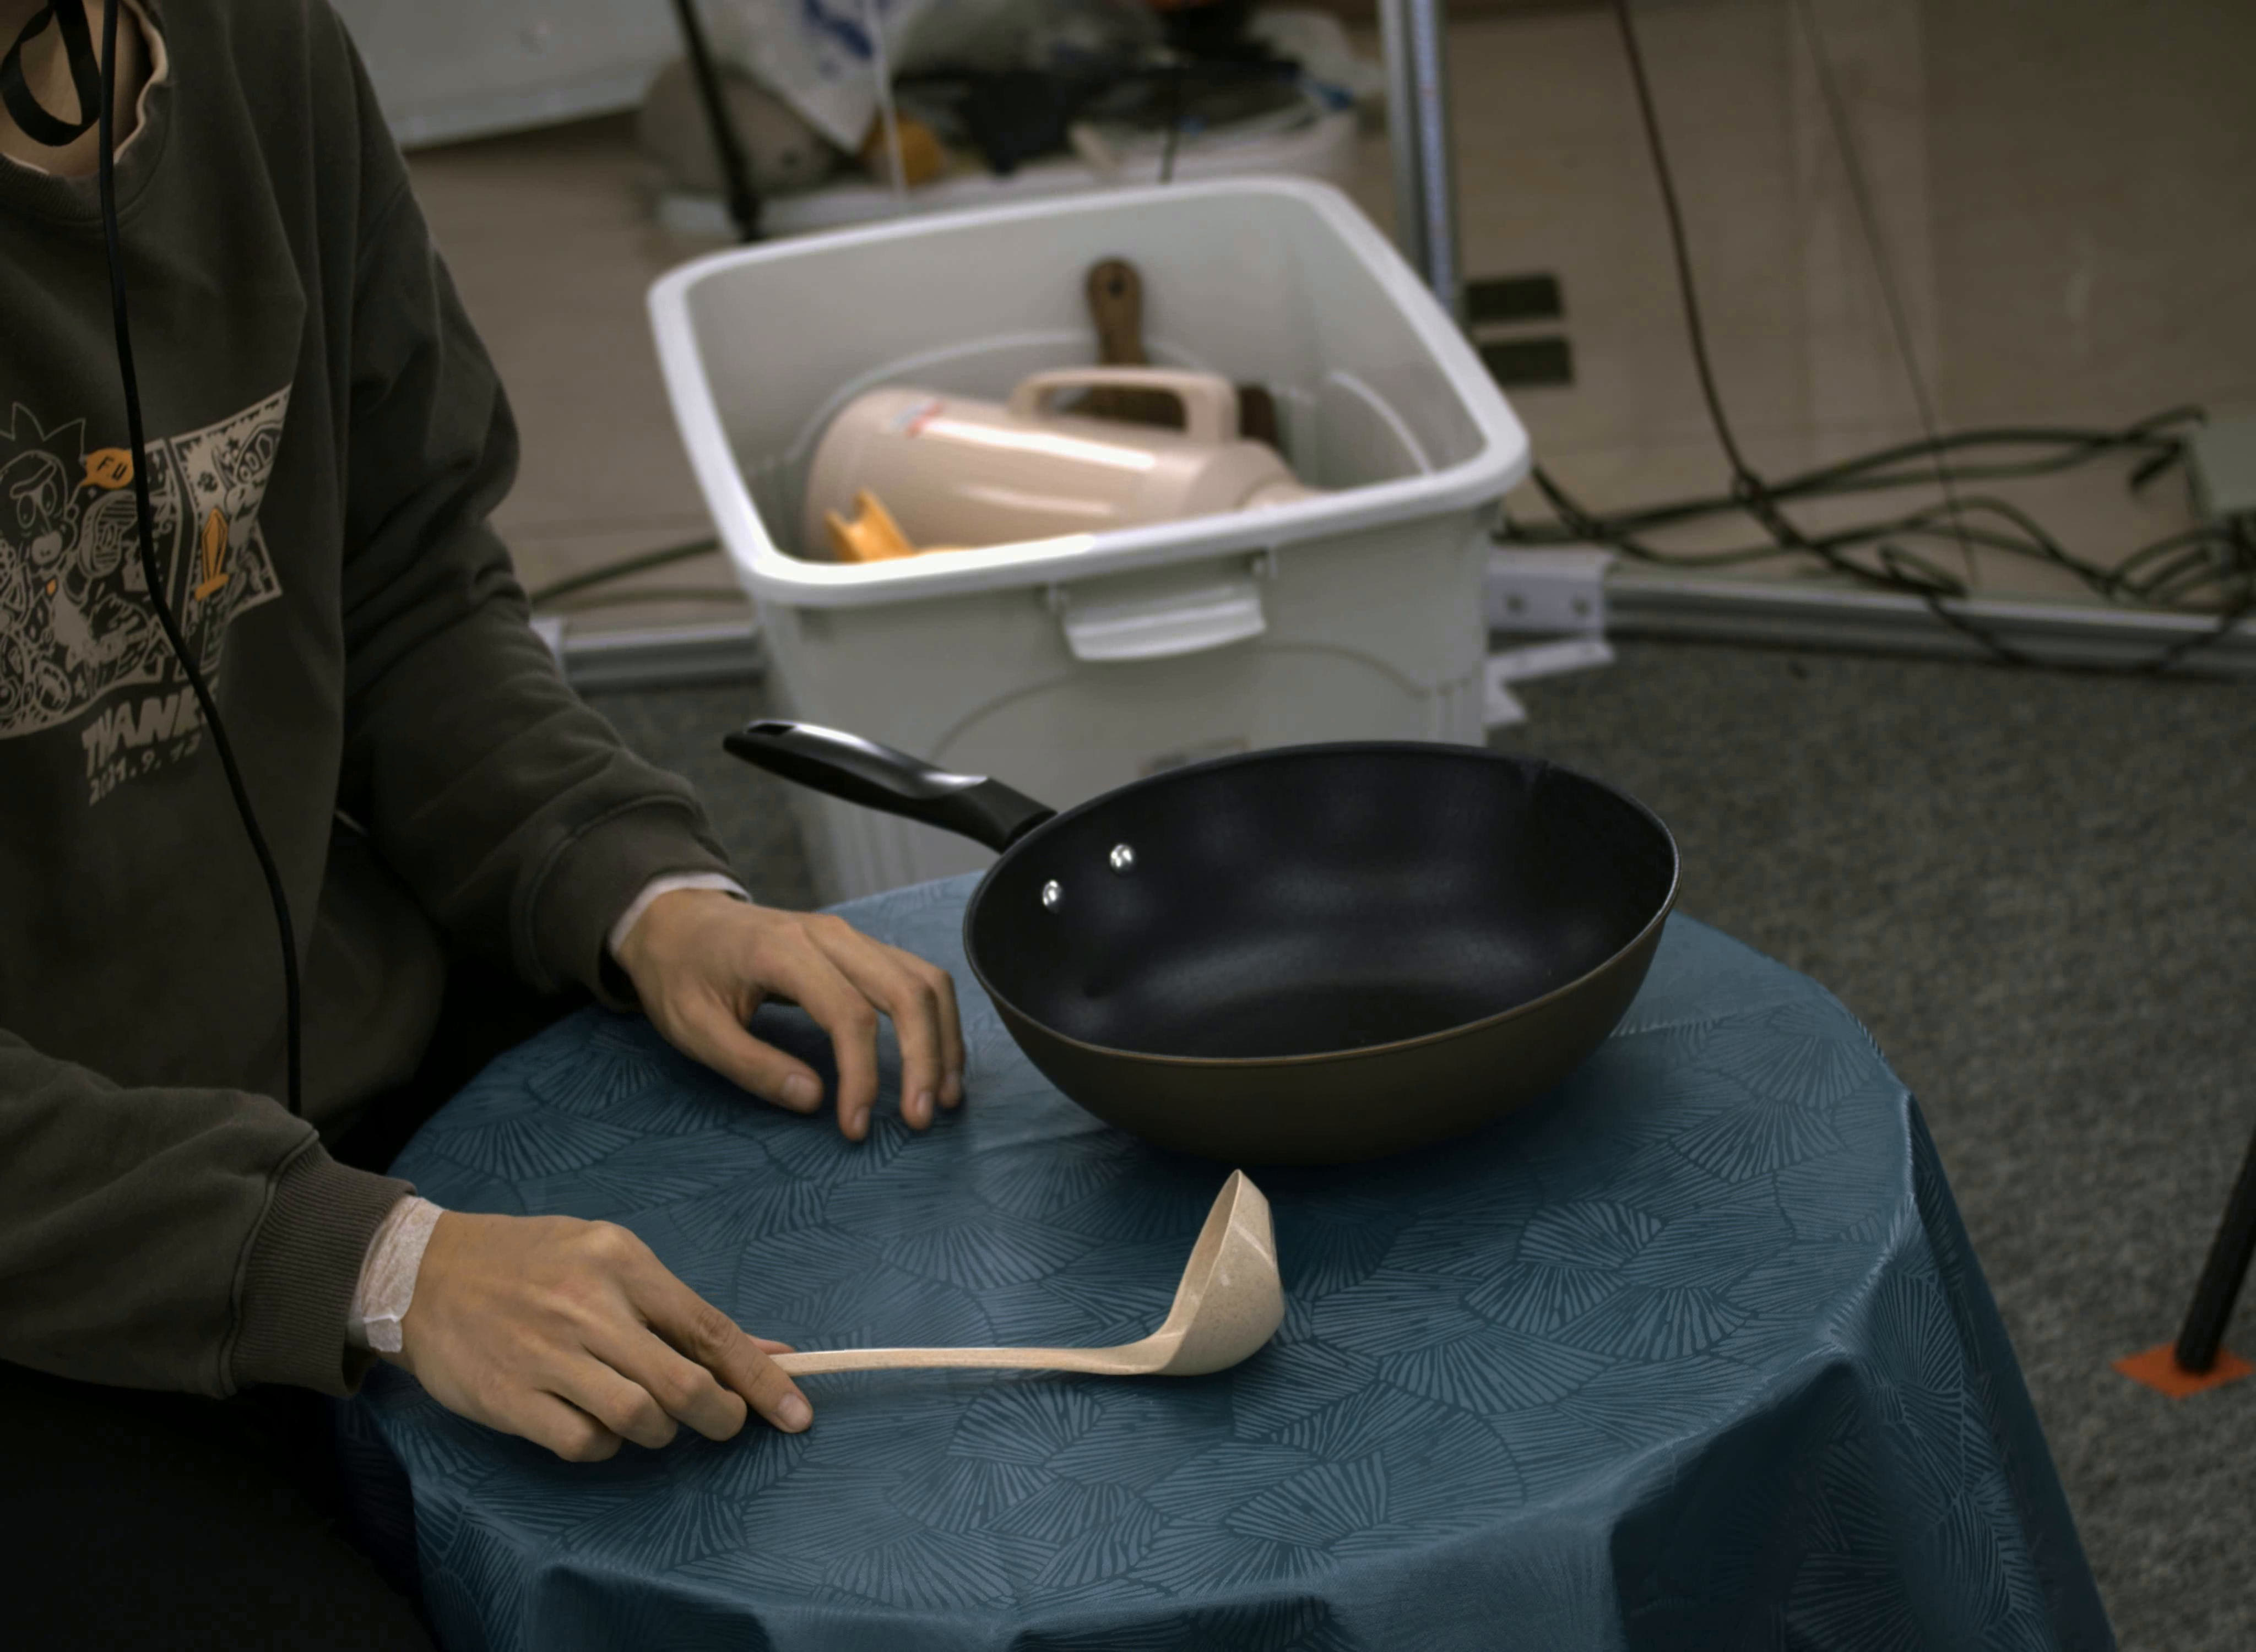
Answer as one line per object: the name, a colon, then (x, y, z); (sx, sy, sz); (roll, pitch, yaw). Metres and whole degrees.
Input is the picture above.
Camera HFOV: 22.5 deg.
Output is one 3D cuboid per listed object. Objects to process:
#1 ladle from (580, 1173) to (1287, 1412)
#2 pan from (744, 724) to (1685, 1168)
ladle: (-0.071, 0.165, 2.013); (0.254, 0.074, 0.071); (-3, 20, 0)
pan: (0.011, 0.041, 2.254); (0.460, 0.088, 0.285); (15, 33, 41)
